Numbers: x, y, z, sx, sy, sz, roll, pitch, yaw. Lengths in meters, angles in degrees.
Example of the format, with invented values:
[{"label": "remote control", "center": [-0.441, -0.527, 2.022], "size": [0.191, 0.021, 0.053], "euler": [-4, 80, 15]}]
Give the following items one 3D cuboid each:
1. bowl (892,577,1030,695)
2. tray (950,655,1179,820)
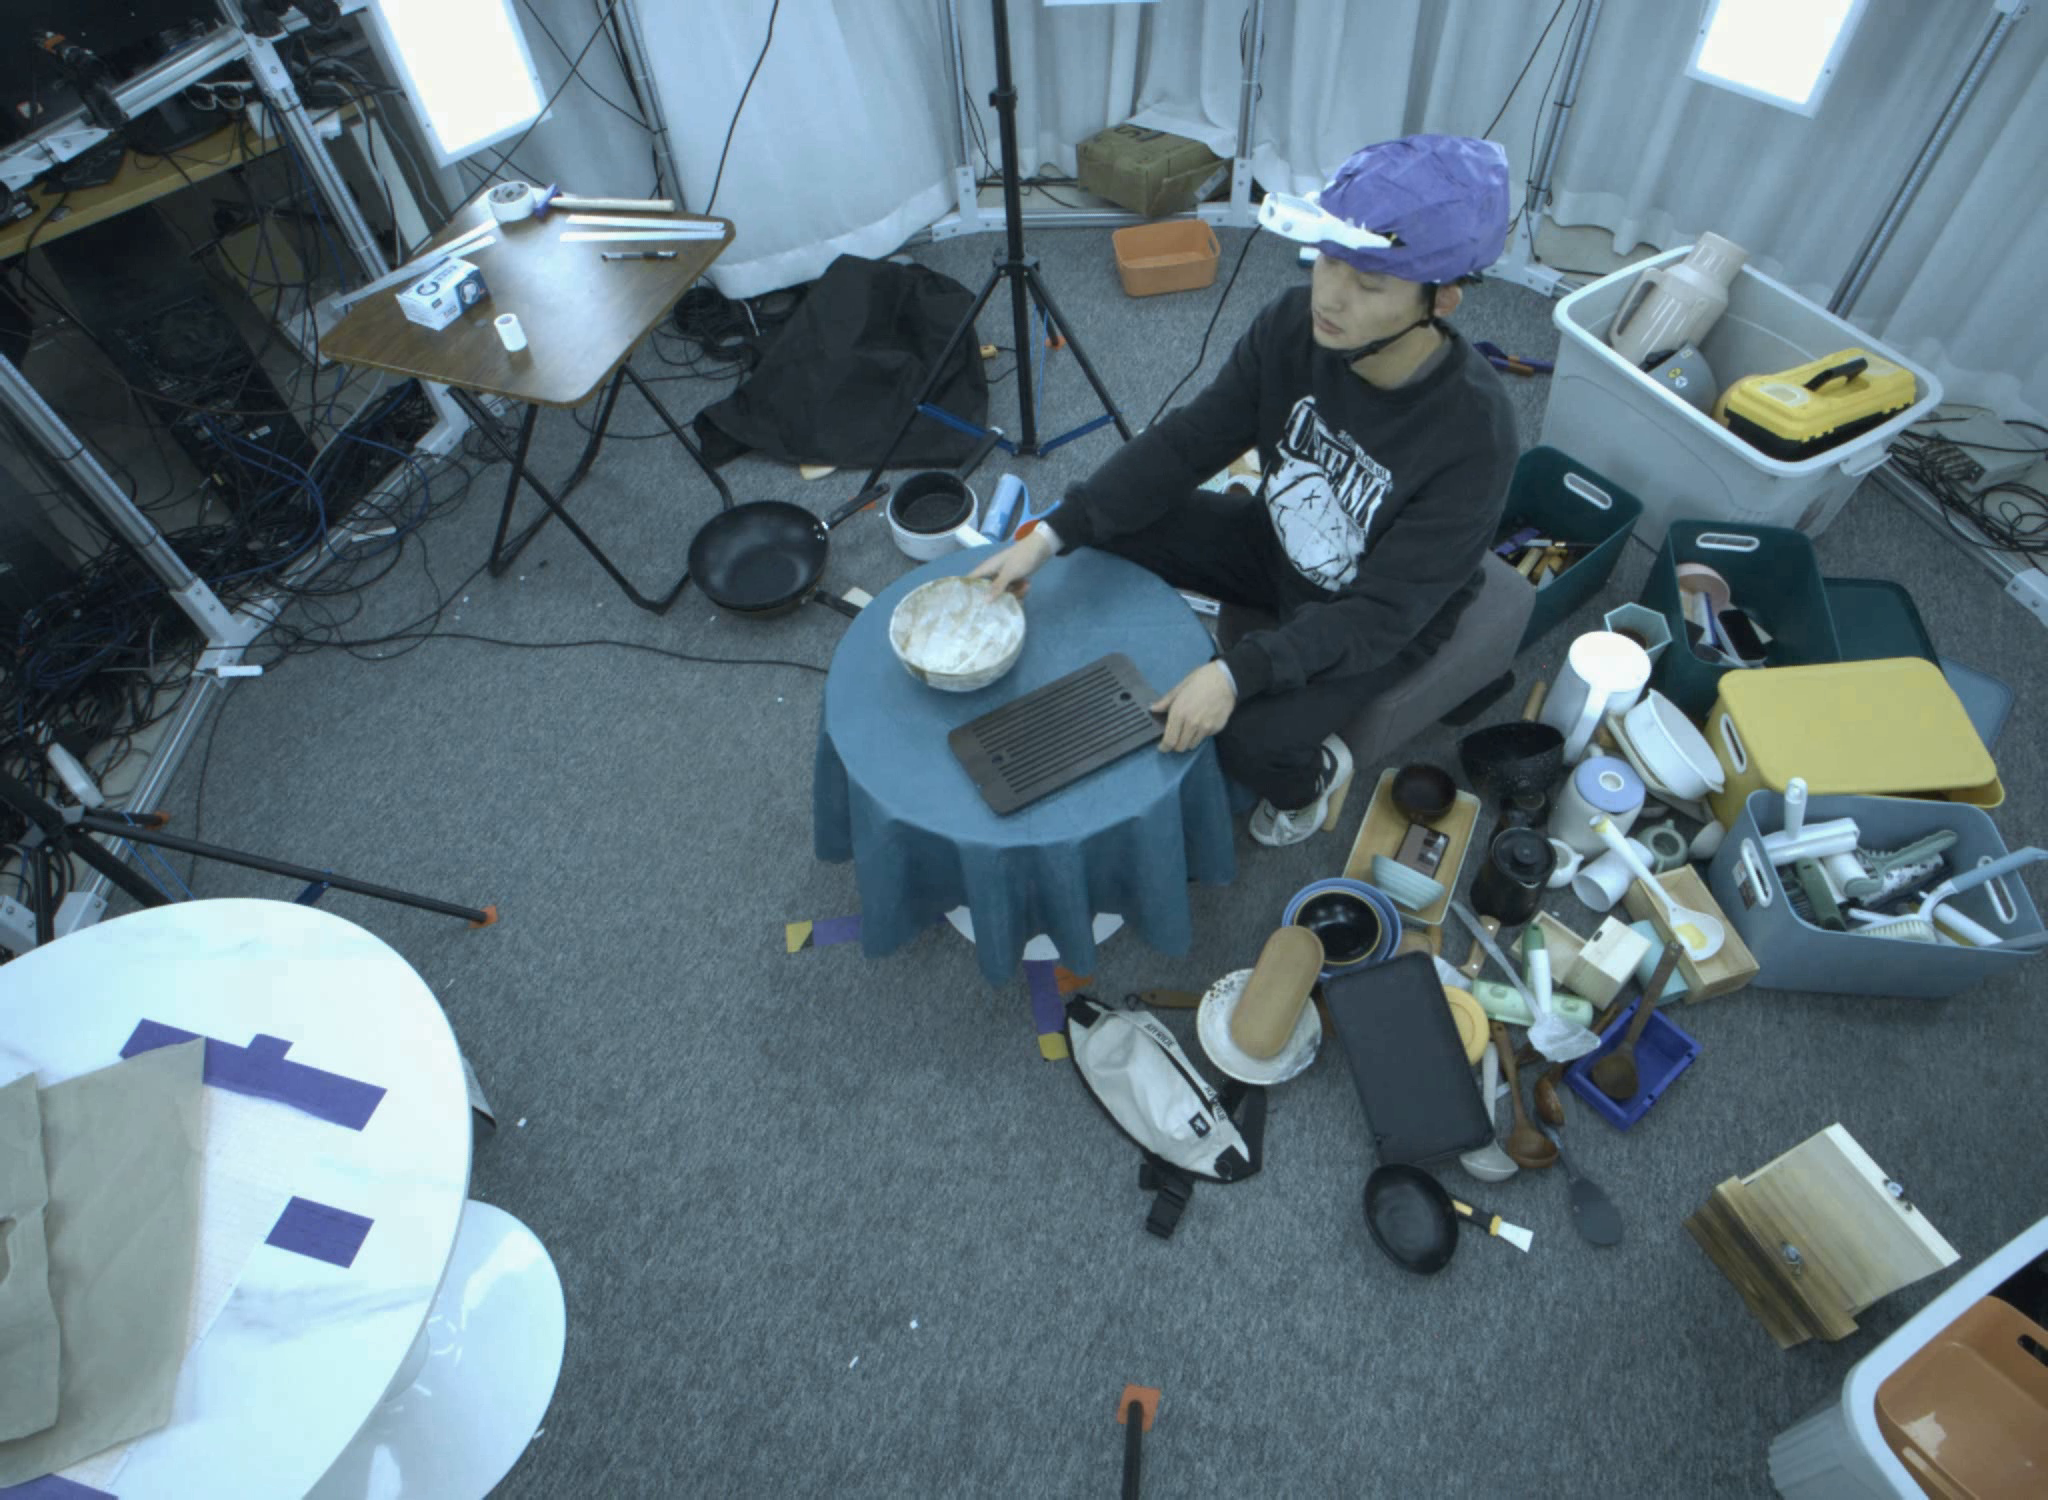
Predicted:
[{"label": "bowl", "center": [-0.091, -0.154, 1.851], "size": [0.214, 0.095, 0.212], "euler": [0, 53, 2]}, {"label": "tray", "center": [0.060, -0.020, 1.800], "size": [0.308, 0.019, 0.167], "euler": [-26, 58, -16]}]
